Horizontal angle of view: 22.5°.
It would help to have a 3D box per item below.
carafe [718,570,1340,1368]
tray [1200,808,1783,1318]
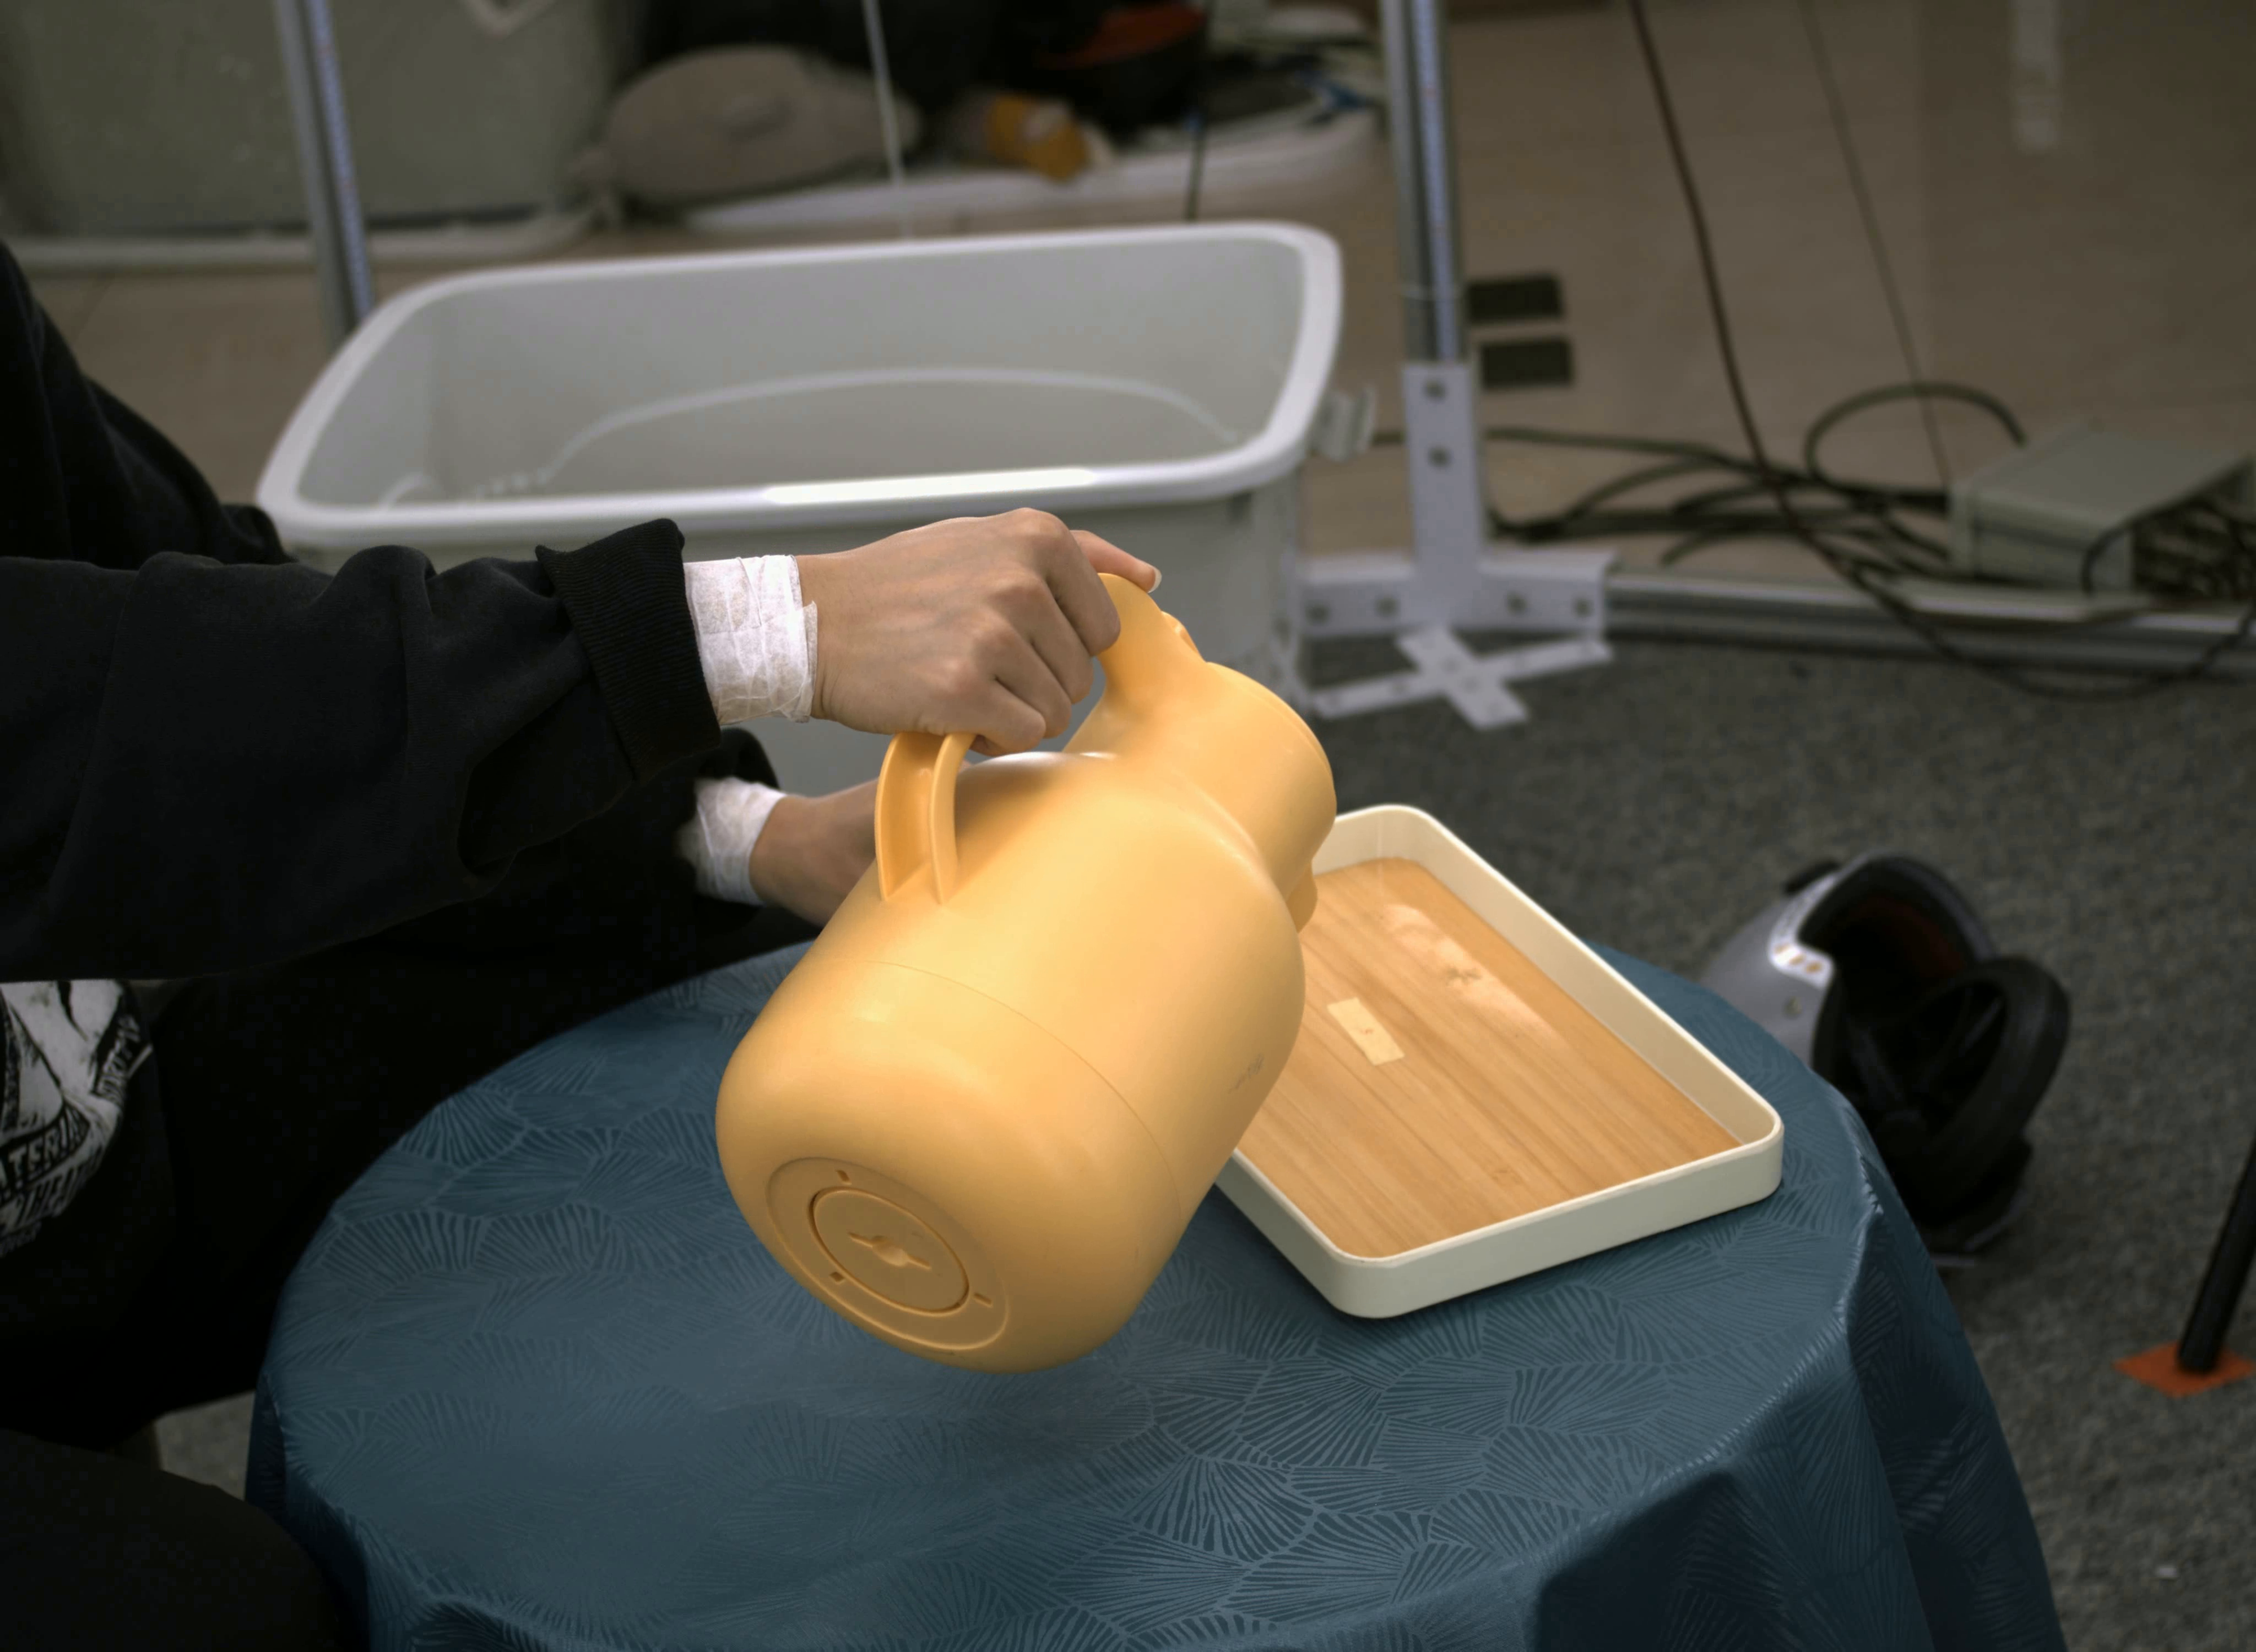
[{"bbox_3d":[-0.030,0.040,1.971,0.163,0.205,0.257,-1,41,39],"label":"carafe"},{"bbox_3d":[0.097,0.085,2.173,0.191,0.028,0.296,-15,32,-22],"label":"tray"}]
